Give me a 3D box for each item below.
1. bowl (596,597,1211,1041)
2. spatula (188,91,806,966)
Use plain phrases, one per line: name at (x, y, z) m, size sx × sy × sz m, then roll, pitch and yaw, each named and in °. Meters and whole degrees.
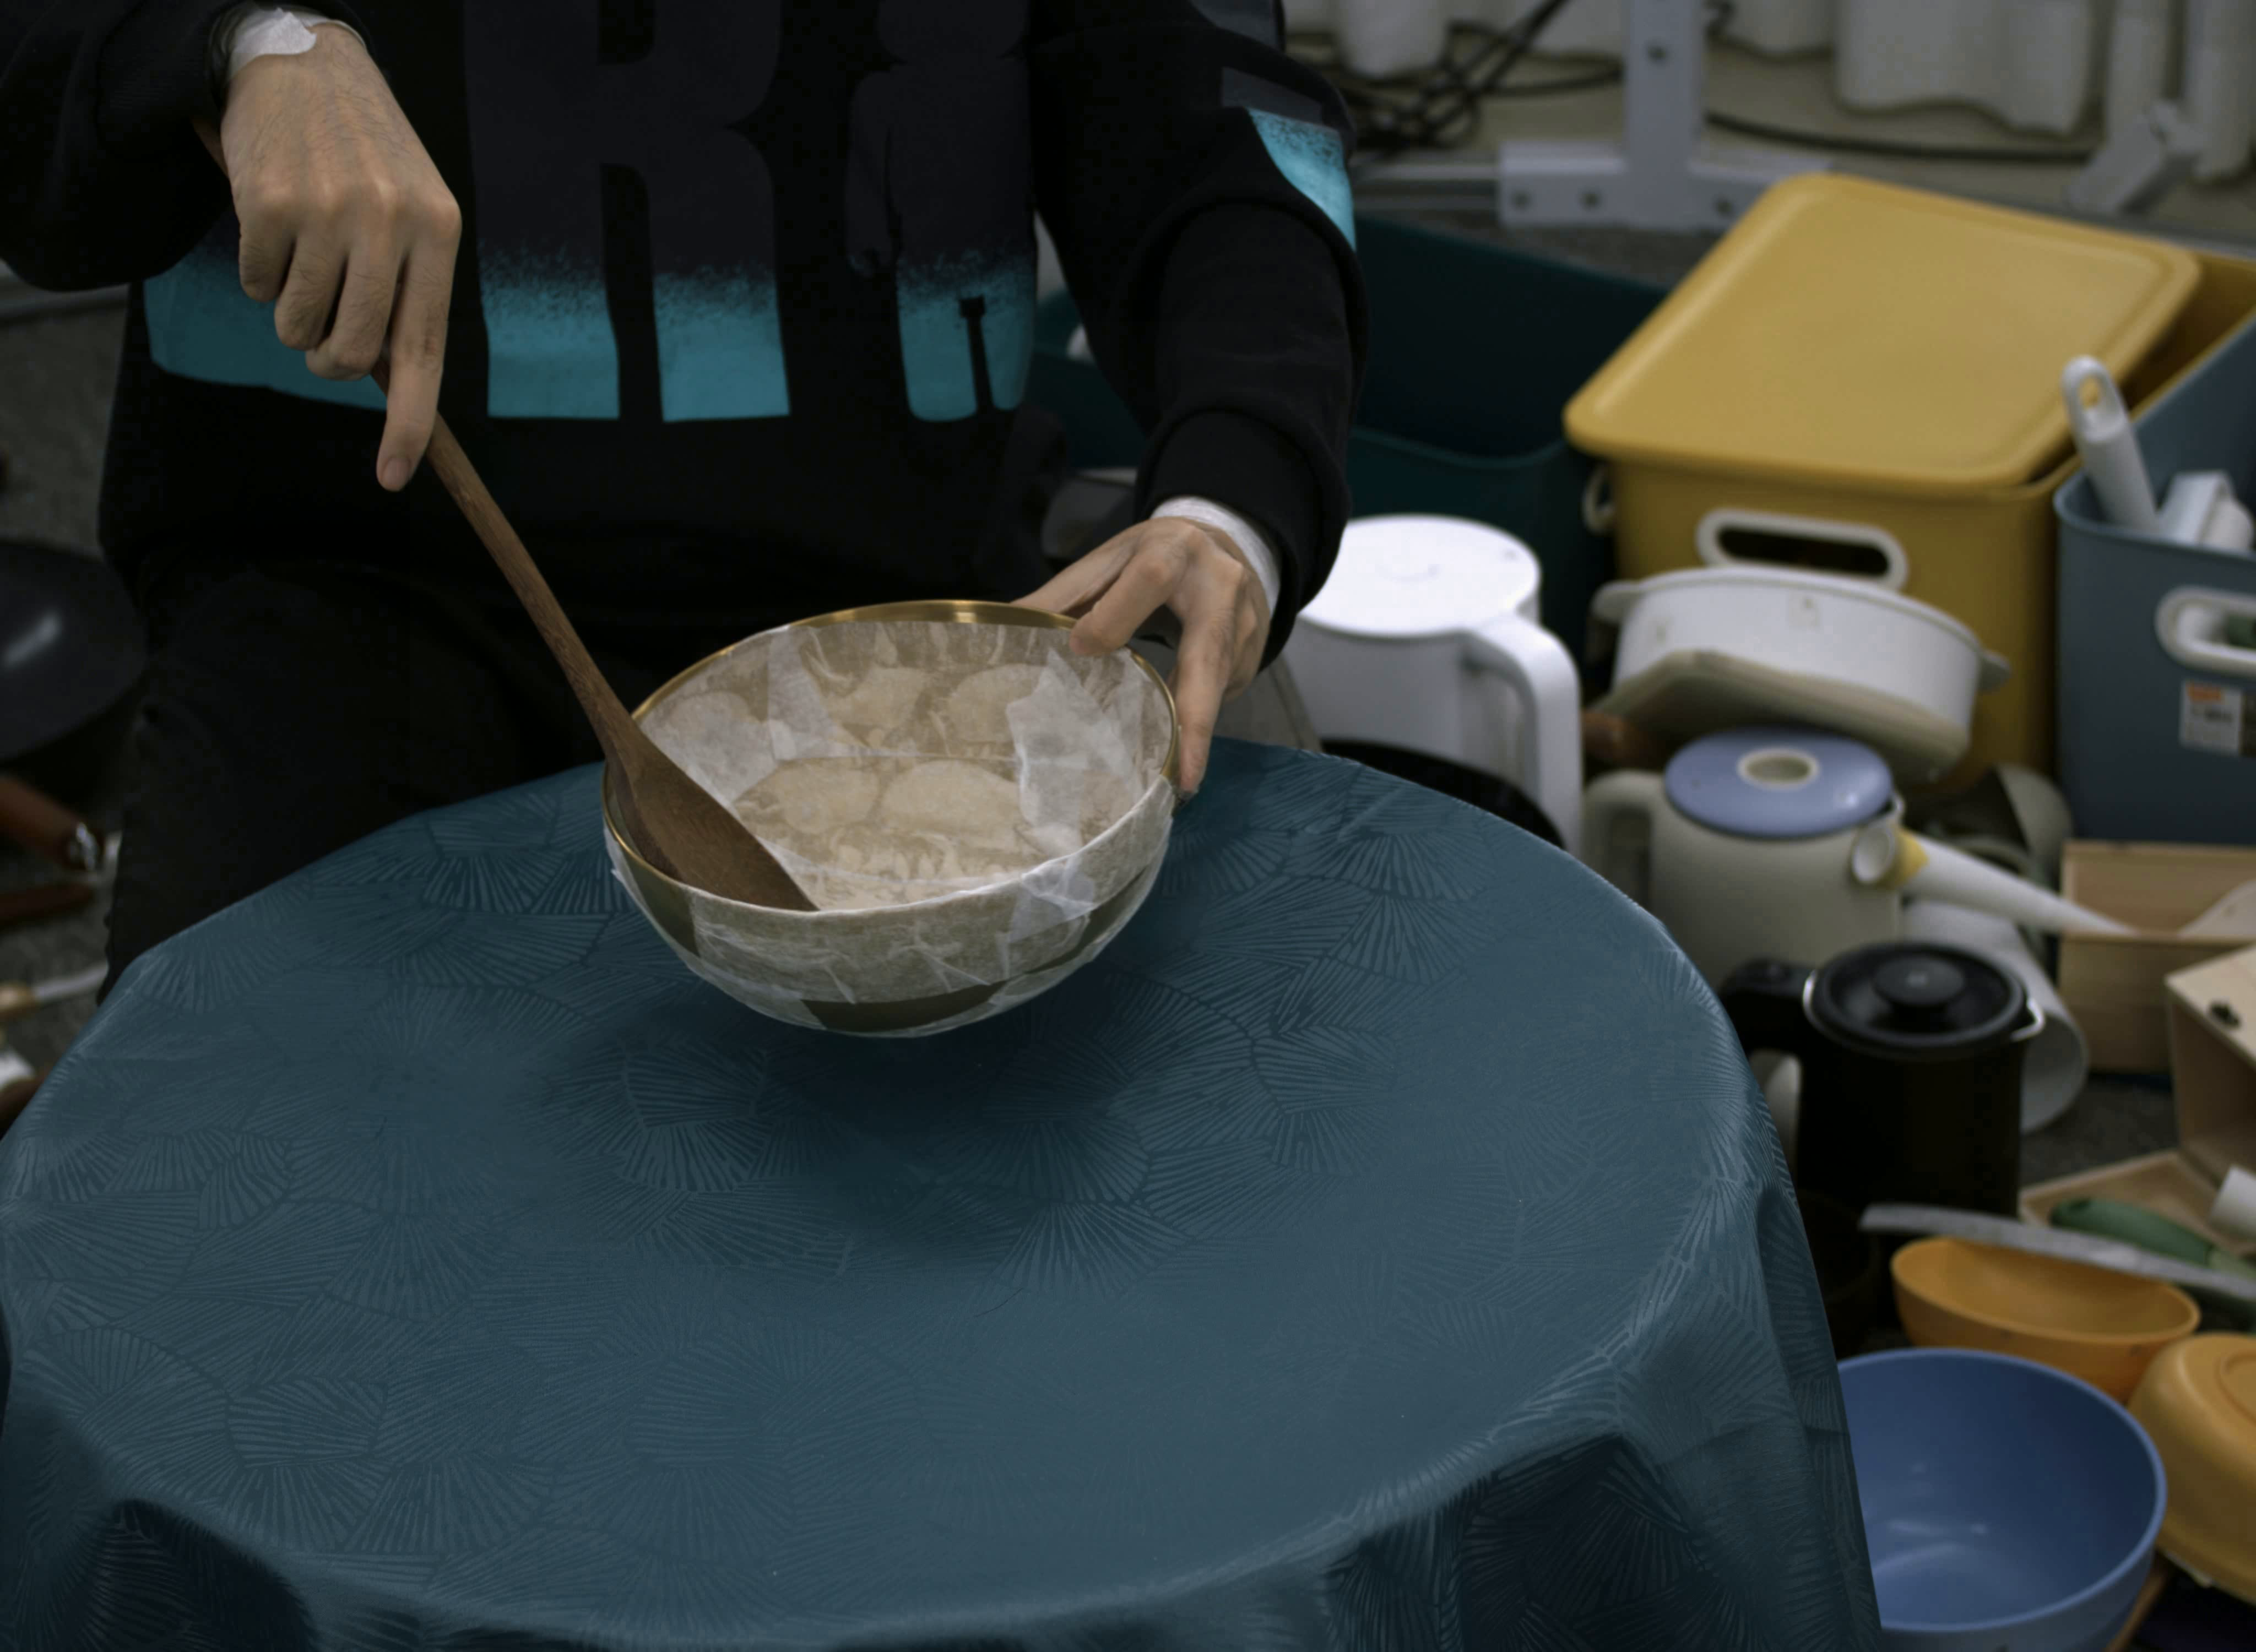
bowl at (-0.072, 0.010, 1.934) m, size 0.213 × 0.093 × 0.218 m, roll -6°, pitch 30°, yaw 4°
spatula at (-0.217, -0.102, 1.935) m, size 0.015 × 0.388 × 0.096 m, roll -37°, pitch -12°, yaw 14°
